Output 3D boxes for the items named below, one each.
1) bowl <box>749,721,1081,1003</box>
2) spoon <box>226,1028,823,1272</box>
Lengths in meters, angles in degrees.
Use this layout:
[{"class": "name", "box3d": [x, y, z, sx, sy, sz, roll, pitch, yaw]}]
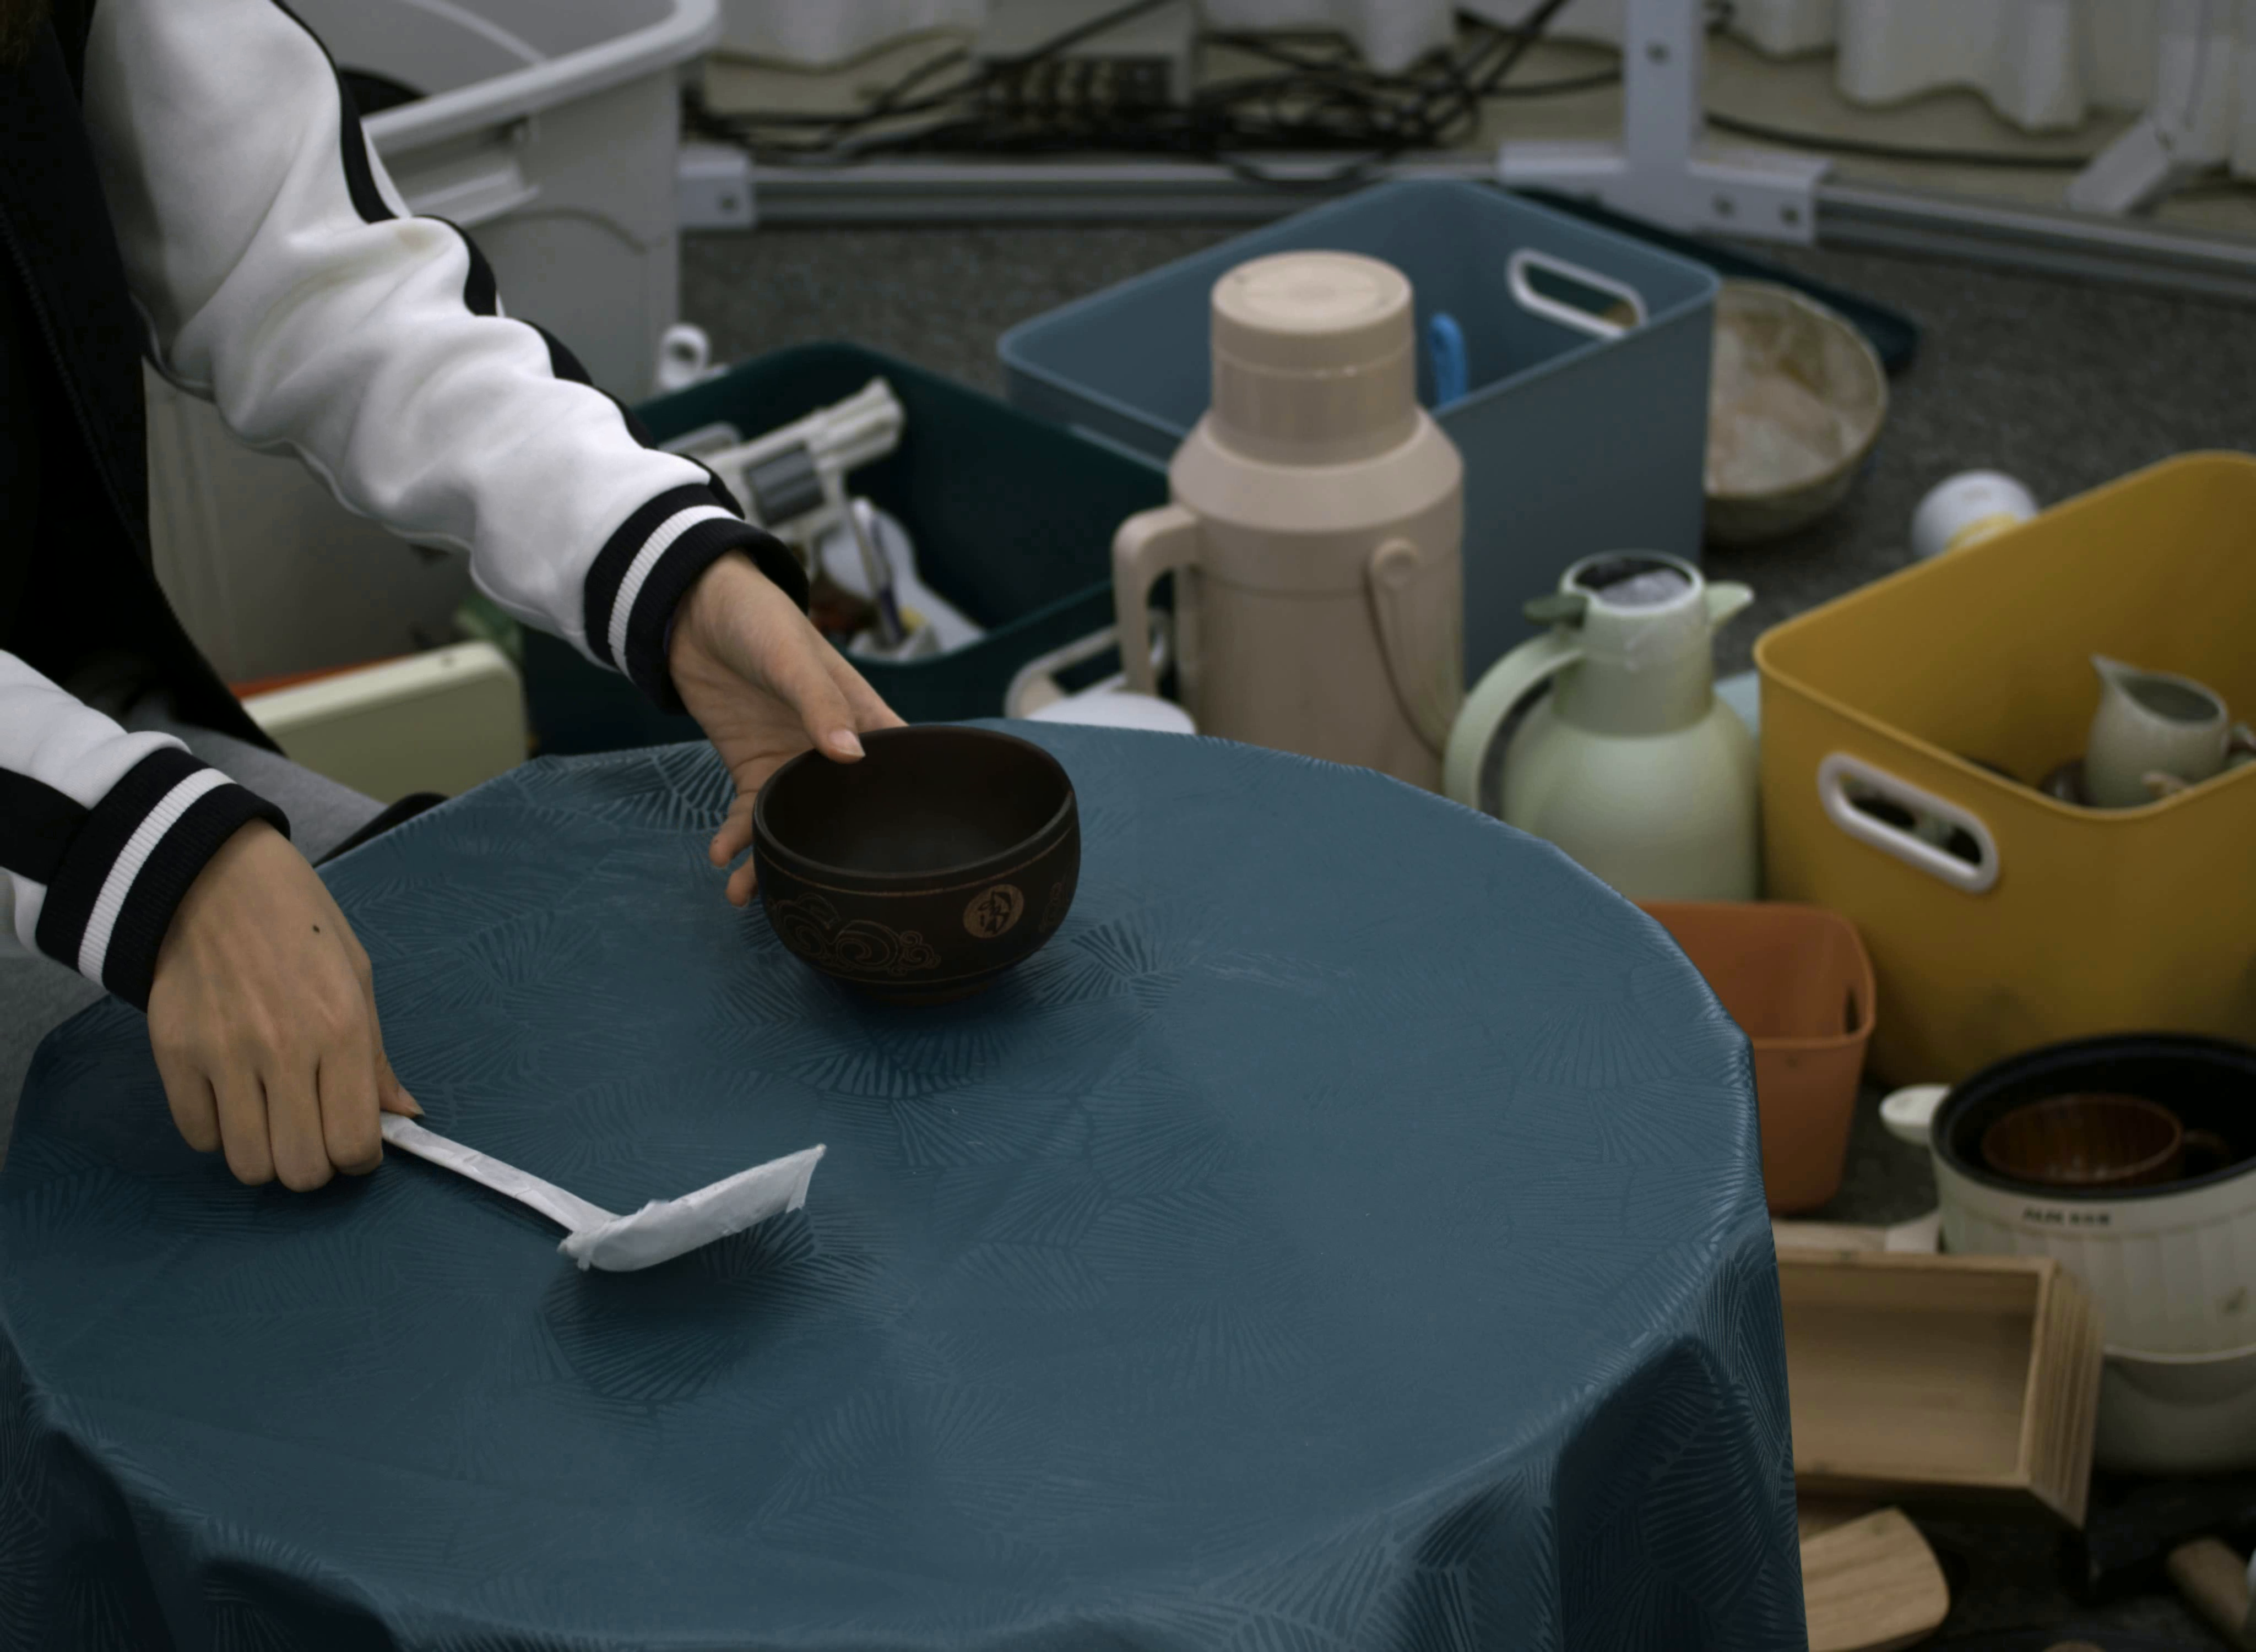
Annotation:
[{"class": "bowl", "box3d": [-0.074, 0.019, 1.988, 0.117, 0.069, 0.120, -2, 27, 2]}, {"class": "spoon", "box3d": [-0.210, 0.091, 1.879, 0.277, 0.059, 0.101, 23, 28, 39]}]
